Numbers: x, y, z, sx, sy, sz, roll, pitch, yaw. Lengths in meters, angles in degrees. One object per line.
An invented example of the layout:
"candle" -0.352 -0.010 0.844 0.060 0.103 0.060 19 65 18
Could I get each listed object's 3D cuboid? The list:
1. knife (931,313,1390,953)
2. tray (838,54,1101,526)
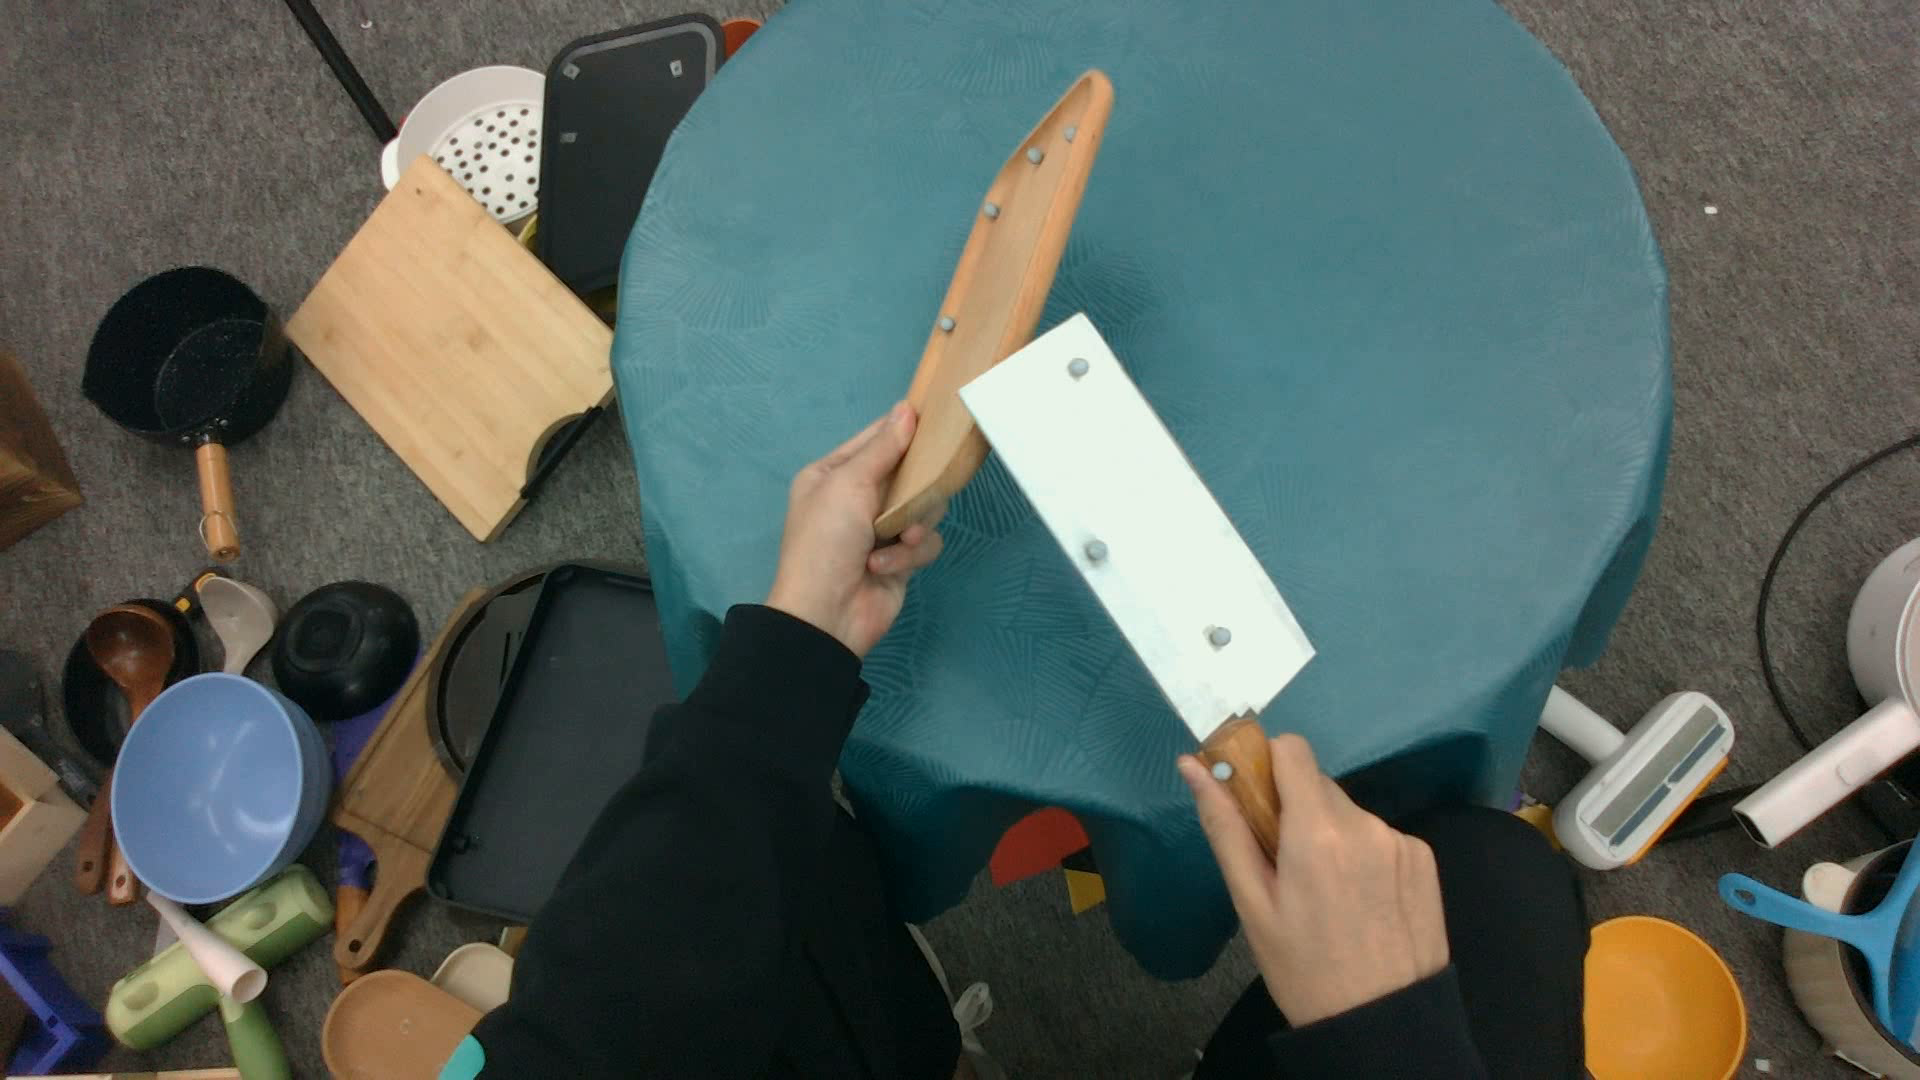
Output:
"knife" 0.101 0.034 0.596 0.093 0.021 0.305 -39 94 -38
"tray" 0.006 -0.124 0.680 0.023 0.130 0.251 26 65 -17
